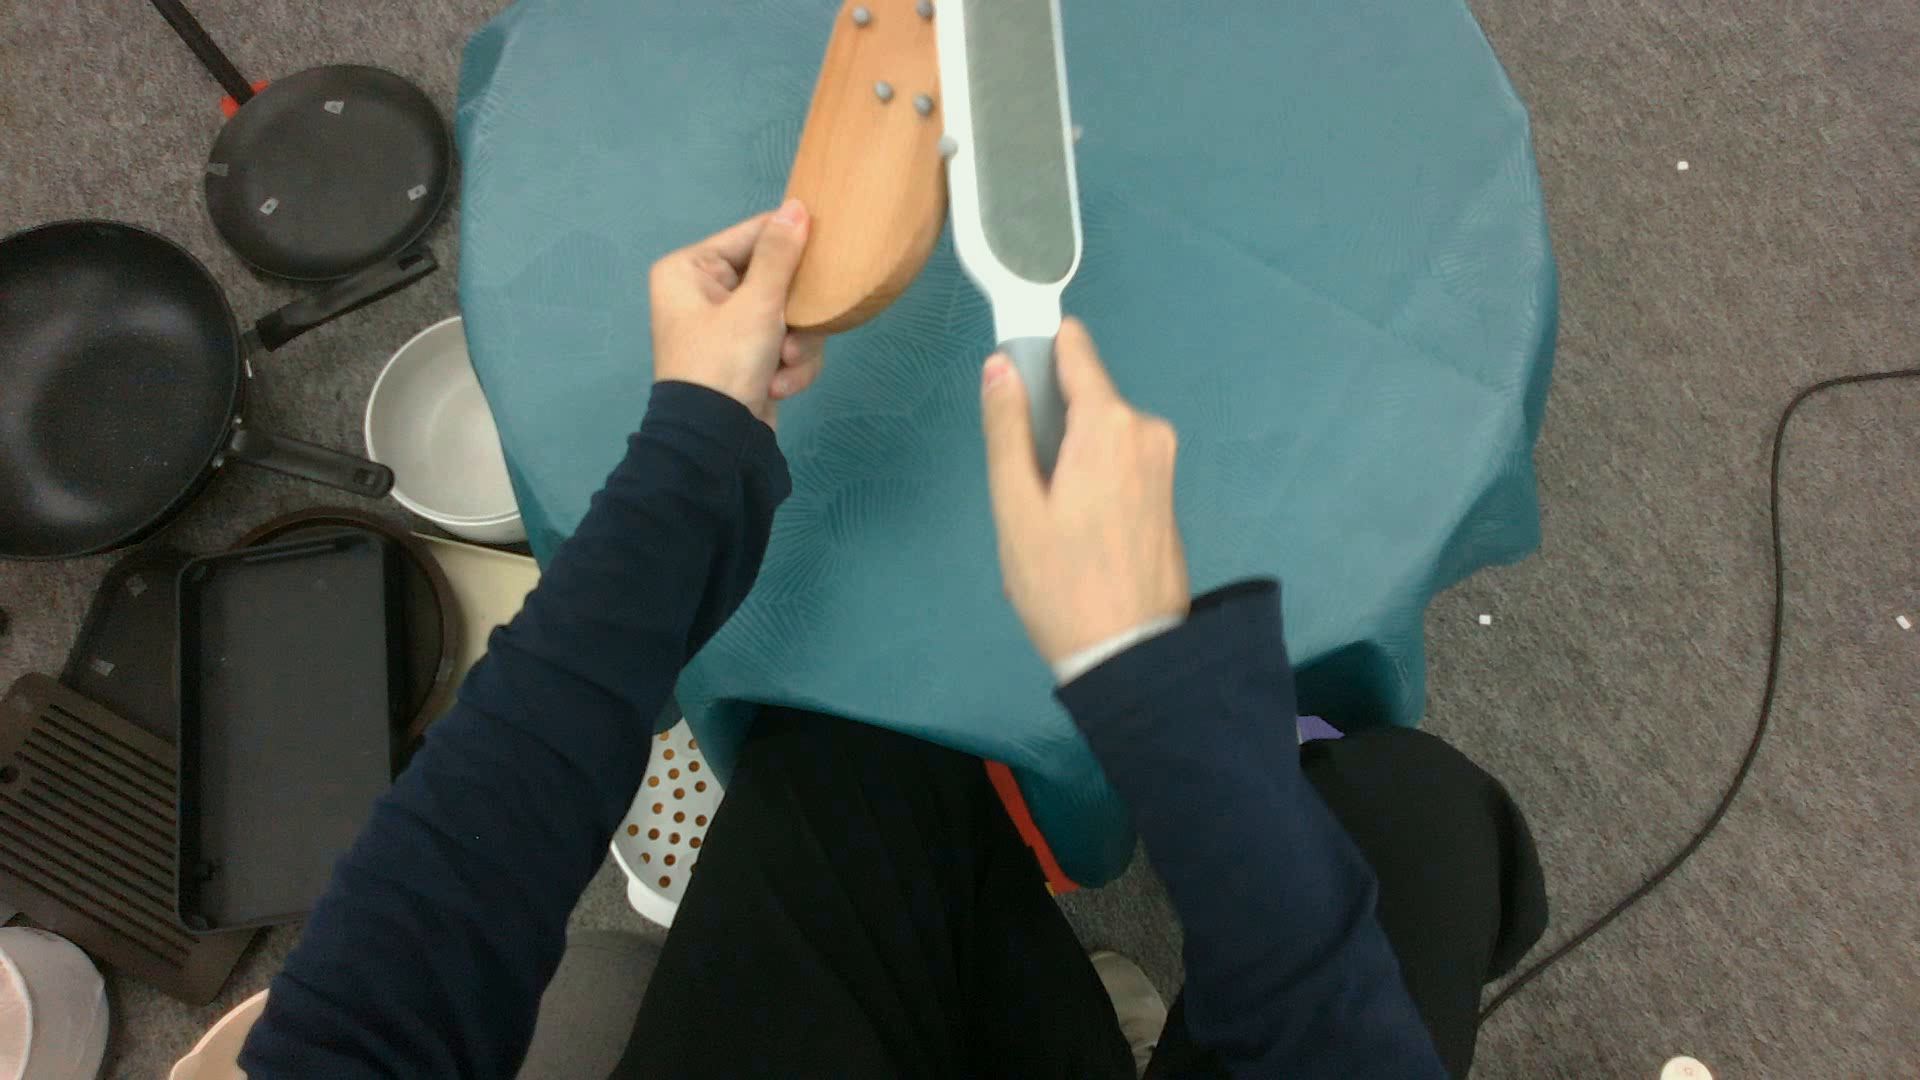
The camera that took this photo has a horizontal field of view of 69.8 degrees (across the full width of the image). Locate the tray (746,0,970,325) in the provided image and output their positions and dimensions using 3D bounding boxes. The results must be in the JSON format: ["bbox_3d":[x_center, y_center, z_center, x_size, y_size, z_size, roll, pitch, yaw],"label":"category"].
[{"bbox_3d":[-0.042,-0.198,0.619,0.101,0.020,0.232,-10,62,41],"label":"tray"}]

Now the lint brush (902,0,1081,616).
[{"bbox_3d":[0.014,-0.122,0.560,0.060,0.021,0.309,1,76,-38],"label":"lint brush"}]
